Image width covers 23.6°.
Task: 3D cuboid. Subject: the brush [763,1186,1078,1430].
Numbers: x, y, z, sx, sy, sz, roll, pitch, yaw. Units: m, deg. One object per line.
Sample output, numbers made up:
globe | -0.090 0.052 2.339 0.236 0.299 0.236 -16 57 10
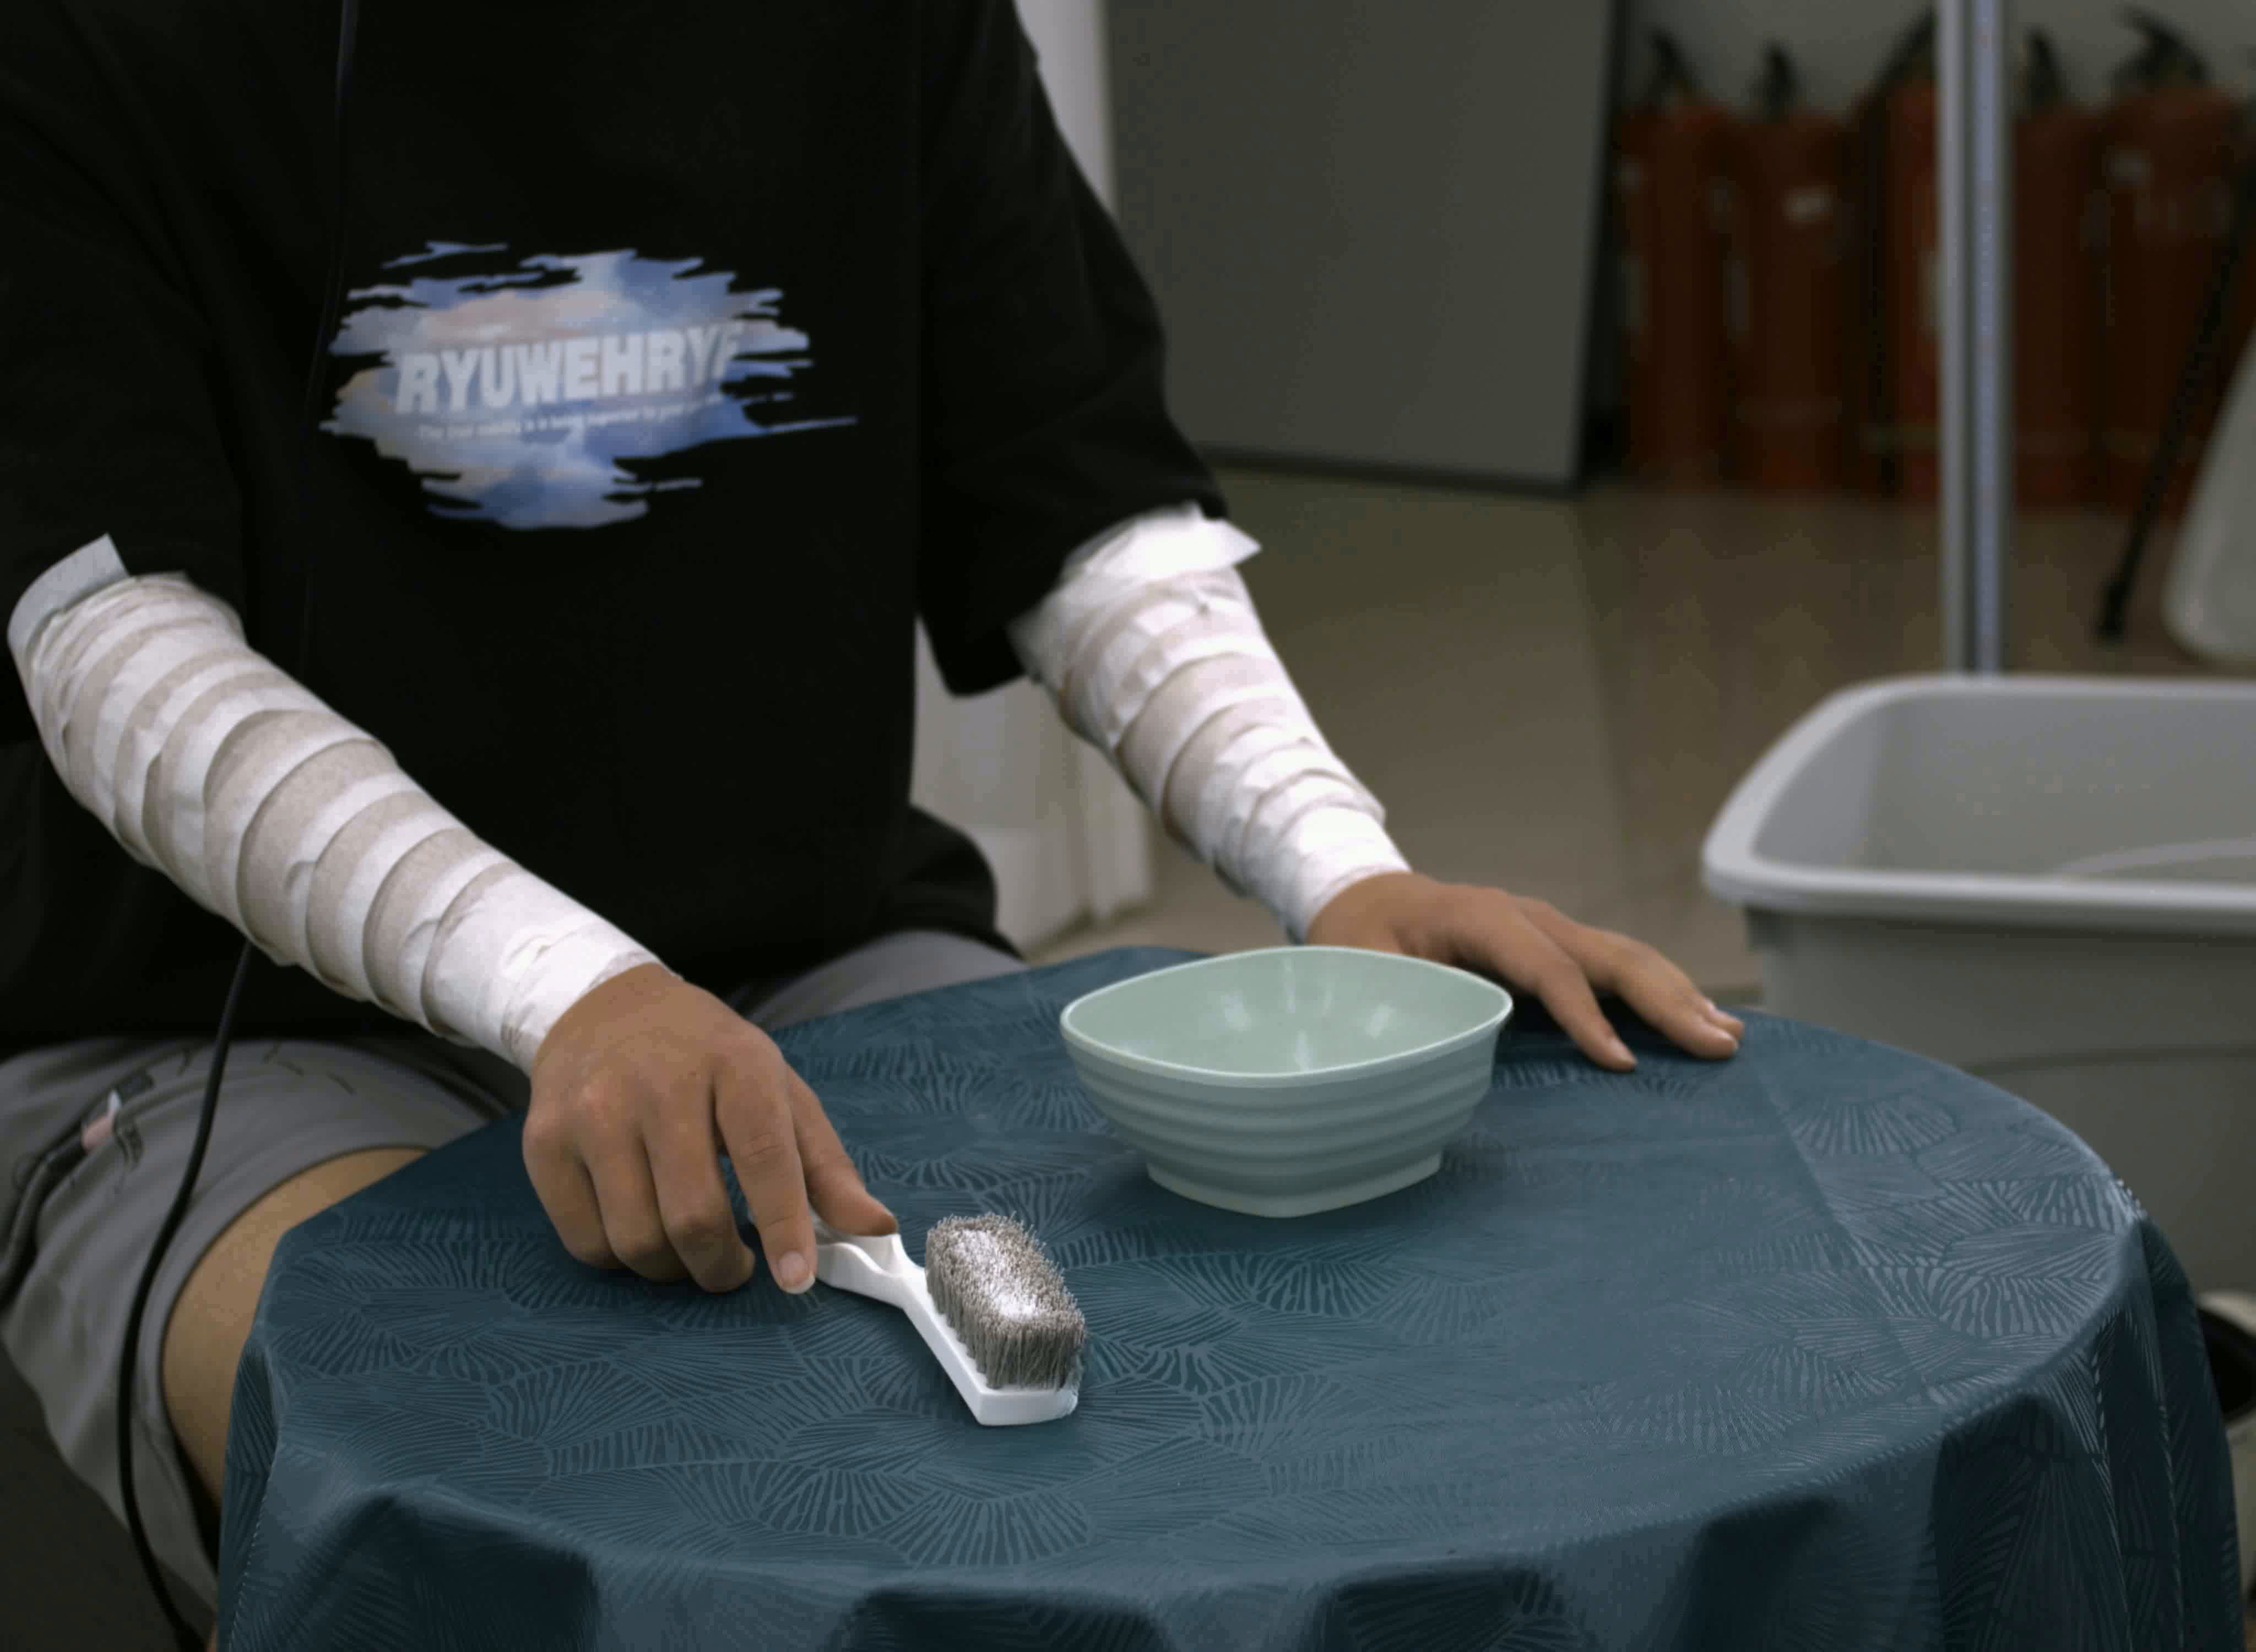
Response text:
brush | -0.069 0.128 1.660 0.033 0.051 0.246 -5 14 -19

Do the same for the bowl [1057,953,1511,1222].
bowl | 0.052 0.088 1.774 0.149 0.059 0.151 -3 13 0
